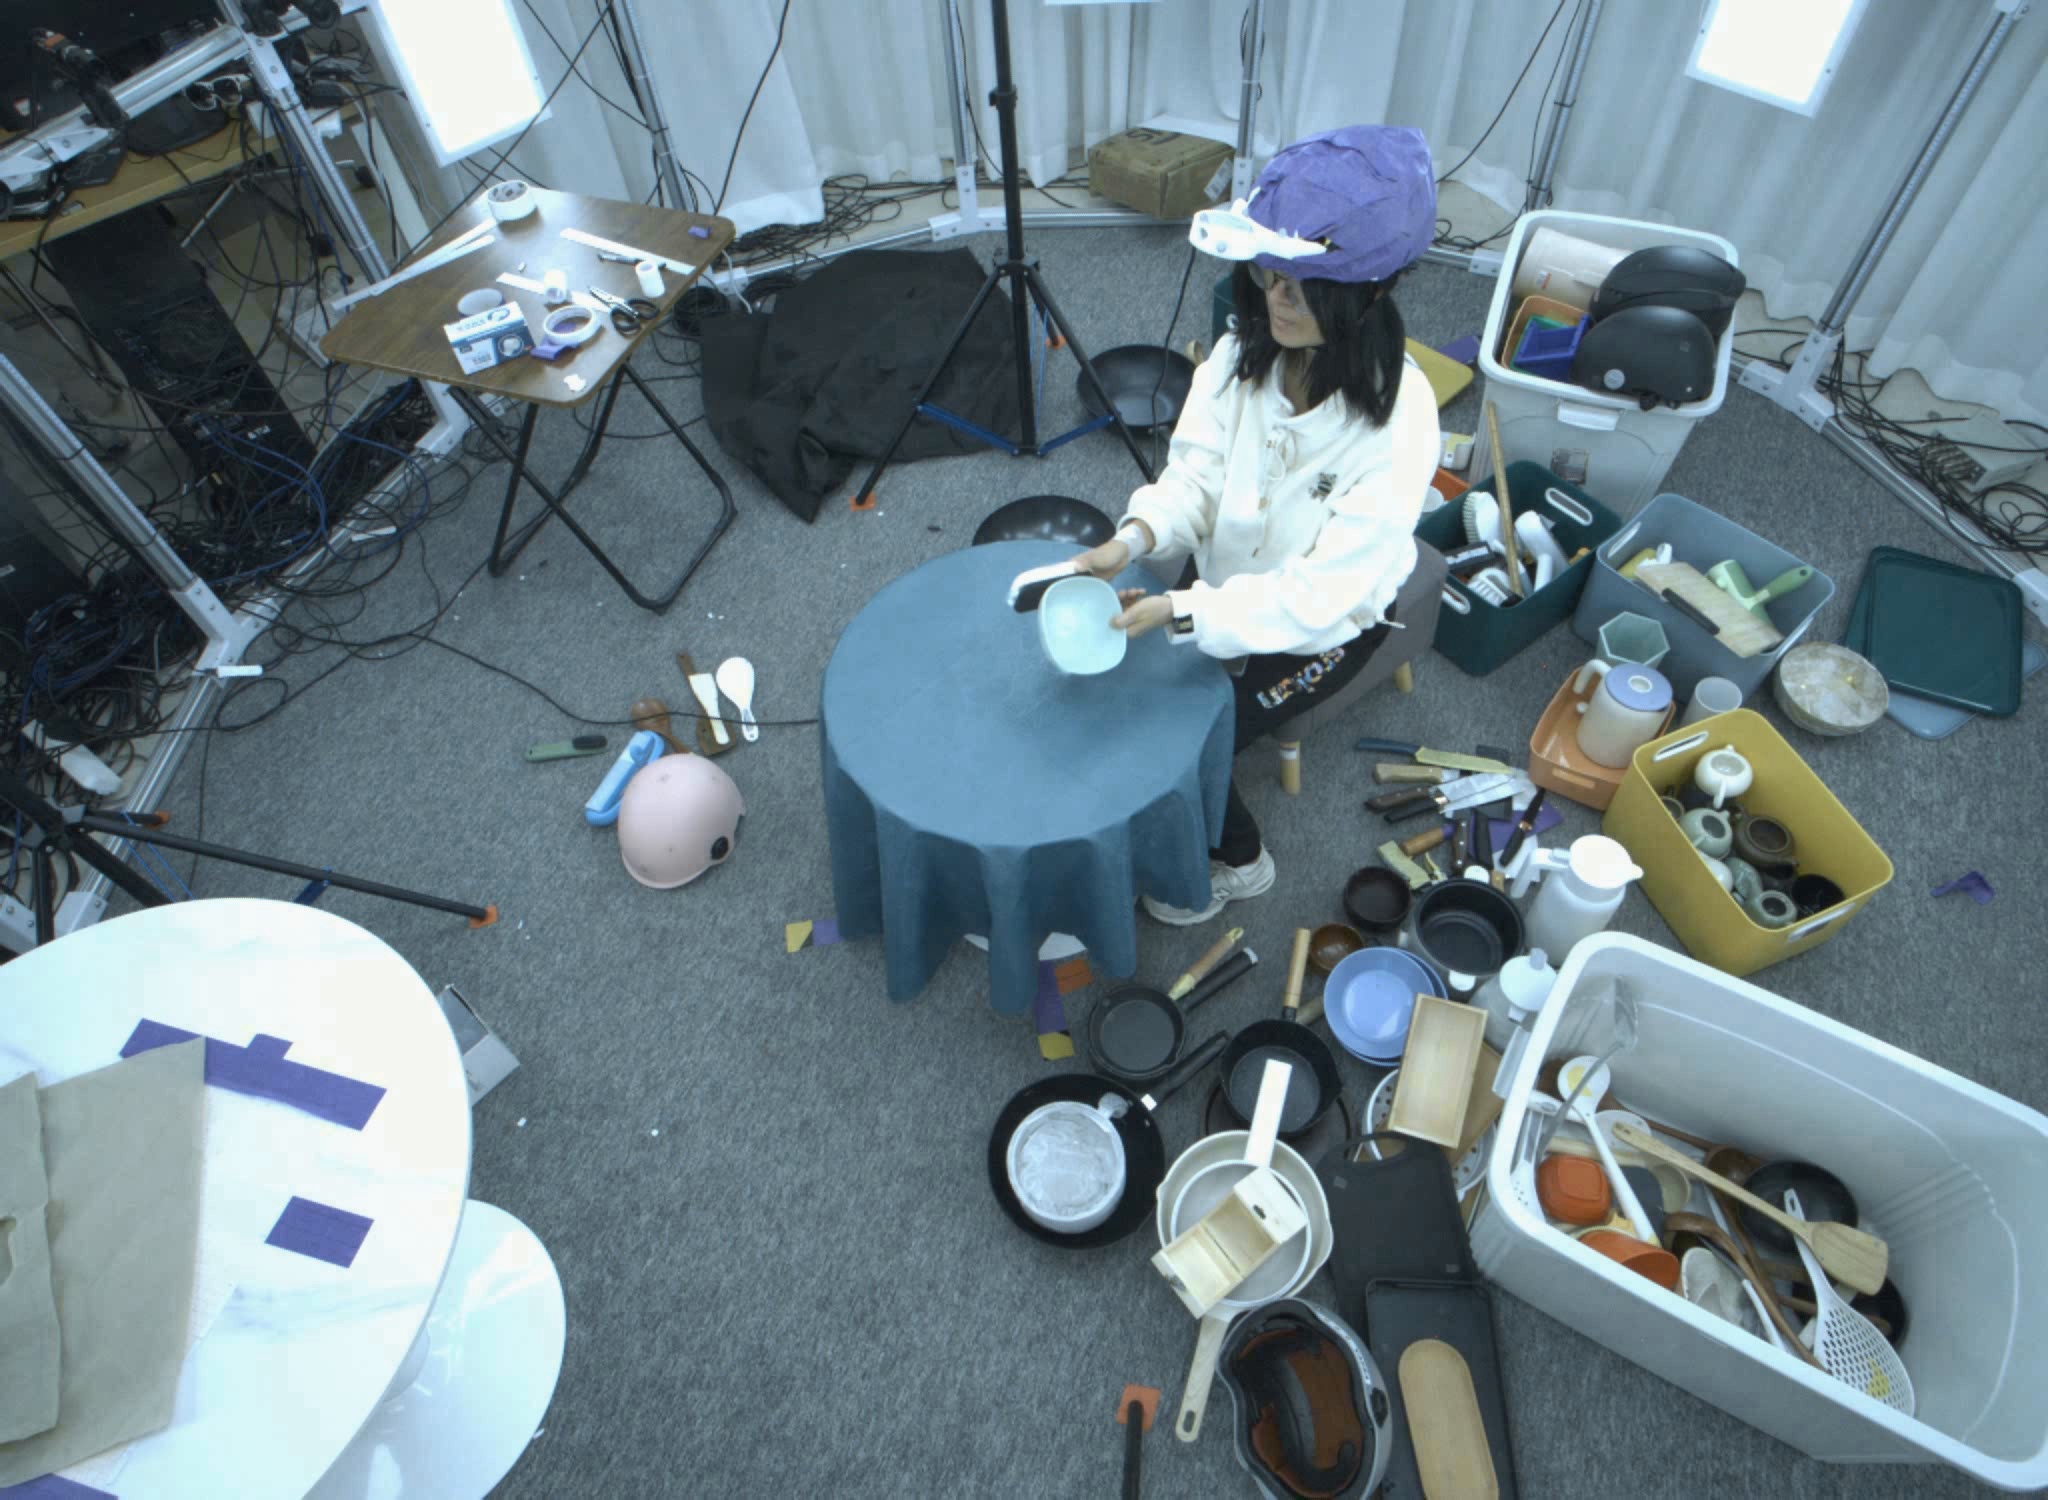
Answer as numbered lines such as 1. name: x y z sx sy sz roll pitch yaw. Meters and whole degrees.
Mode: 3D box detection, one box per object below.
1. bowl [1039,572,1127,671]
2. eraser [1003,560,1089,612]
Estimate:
1. bowl: 0.074 -0.180 1.752 0.152 0.153 0.057 -44 20 -24
2. eraser: 0.033 -0.235 1.754 0.133 0.063 0.034 -17 64 -32
